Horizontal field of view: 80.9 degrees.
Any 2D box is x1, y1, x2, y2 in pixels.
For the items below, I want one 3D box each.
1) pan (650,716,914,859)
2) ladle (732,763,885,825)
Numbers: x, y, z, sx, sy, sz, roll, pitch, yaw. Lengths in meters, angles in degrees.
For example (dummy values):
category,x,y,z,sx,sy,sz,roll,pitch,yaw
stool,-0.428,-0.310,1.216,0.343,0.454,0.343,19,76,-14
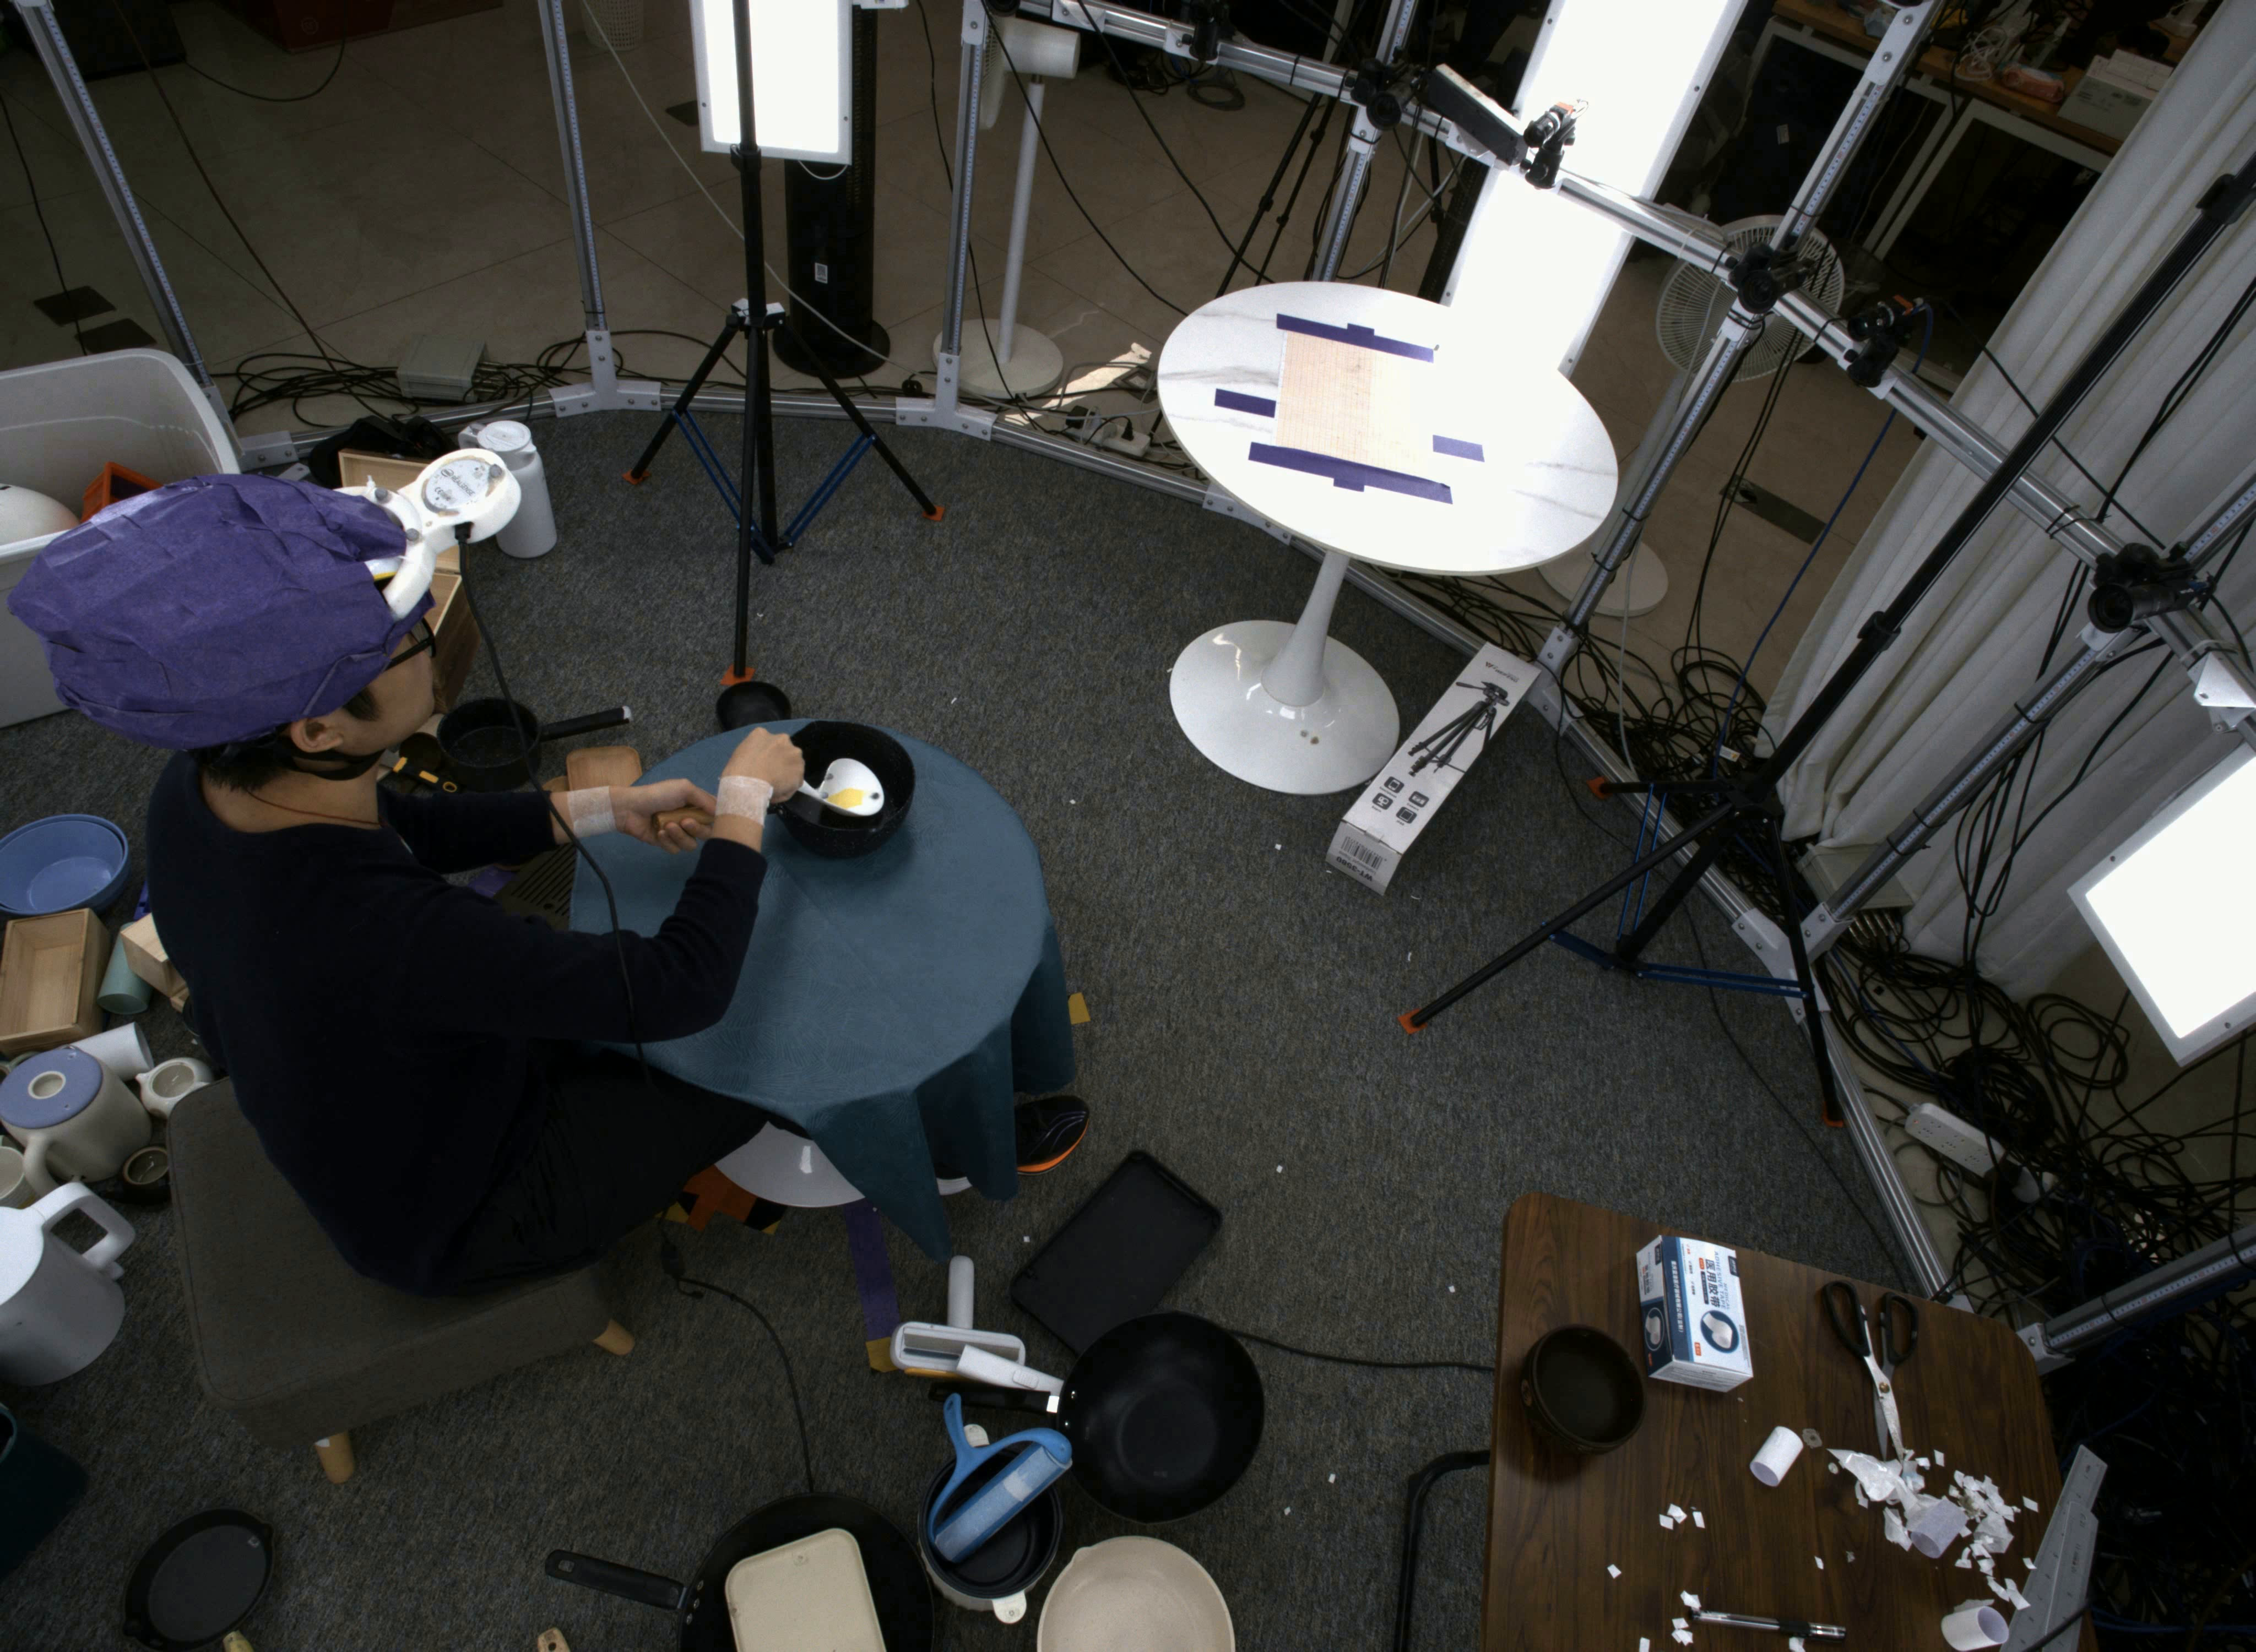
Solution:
category,x,y,z,sx,sy,sz,roll,pitch,yaw
pan,-0.439,-0.027,1.652,0.345,0.110,0.202,-20,62,-31
ladle,-0.390,-0.051,1.609,0.069,0.297,0.090,-27,80,8
